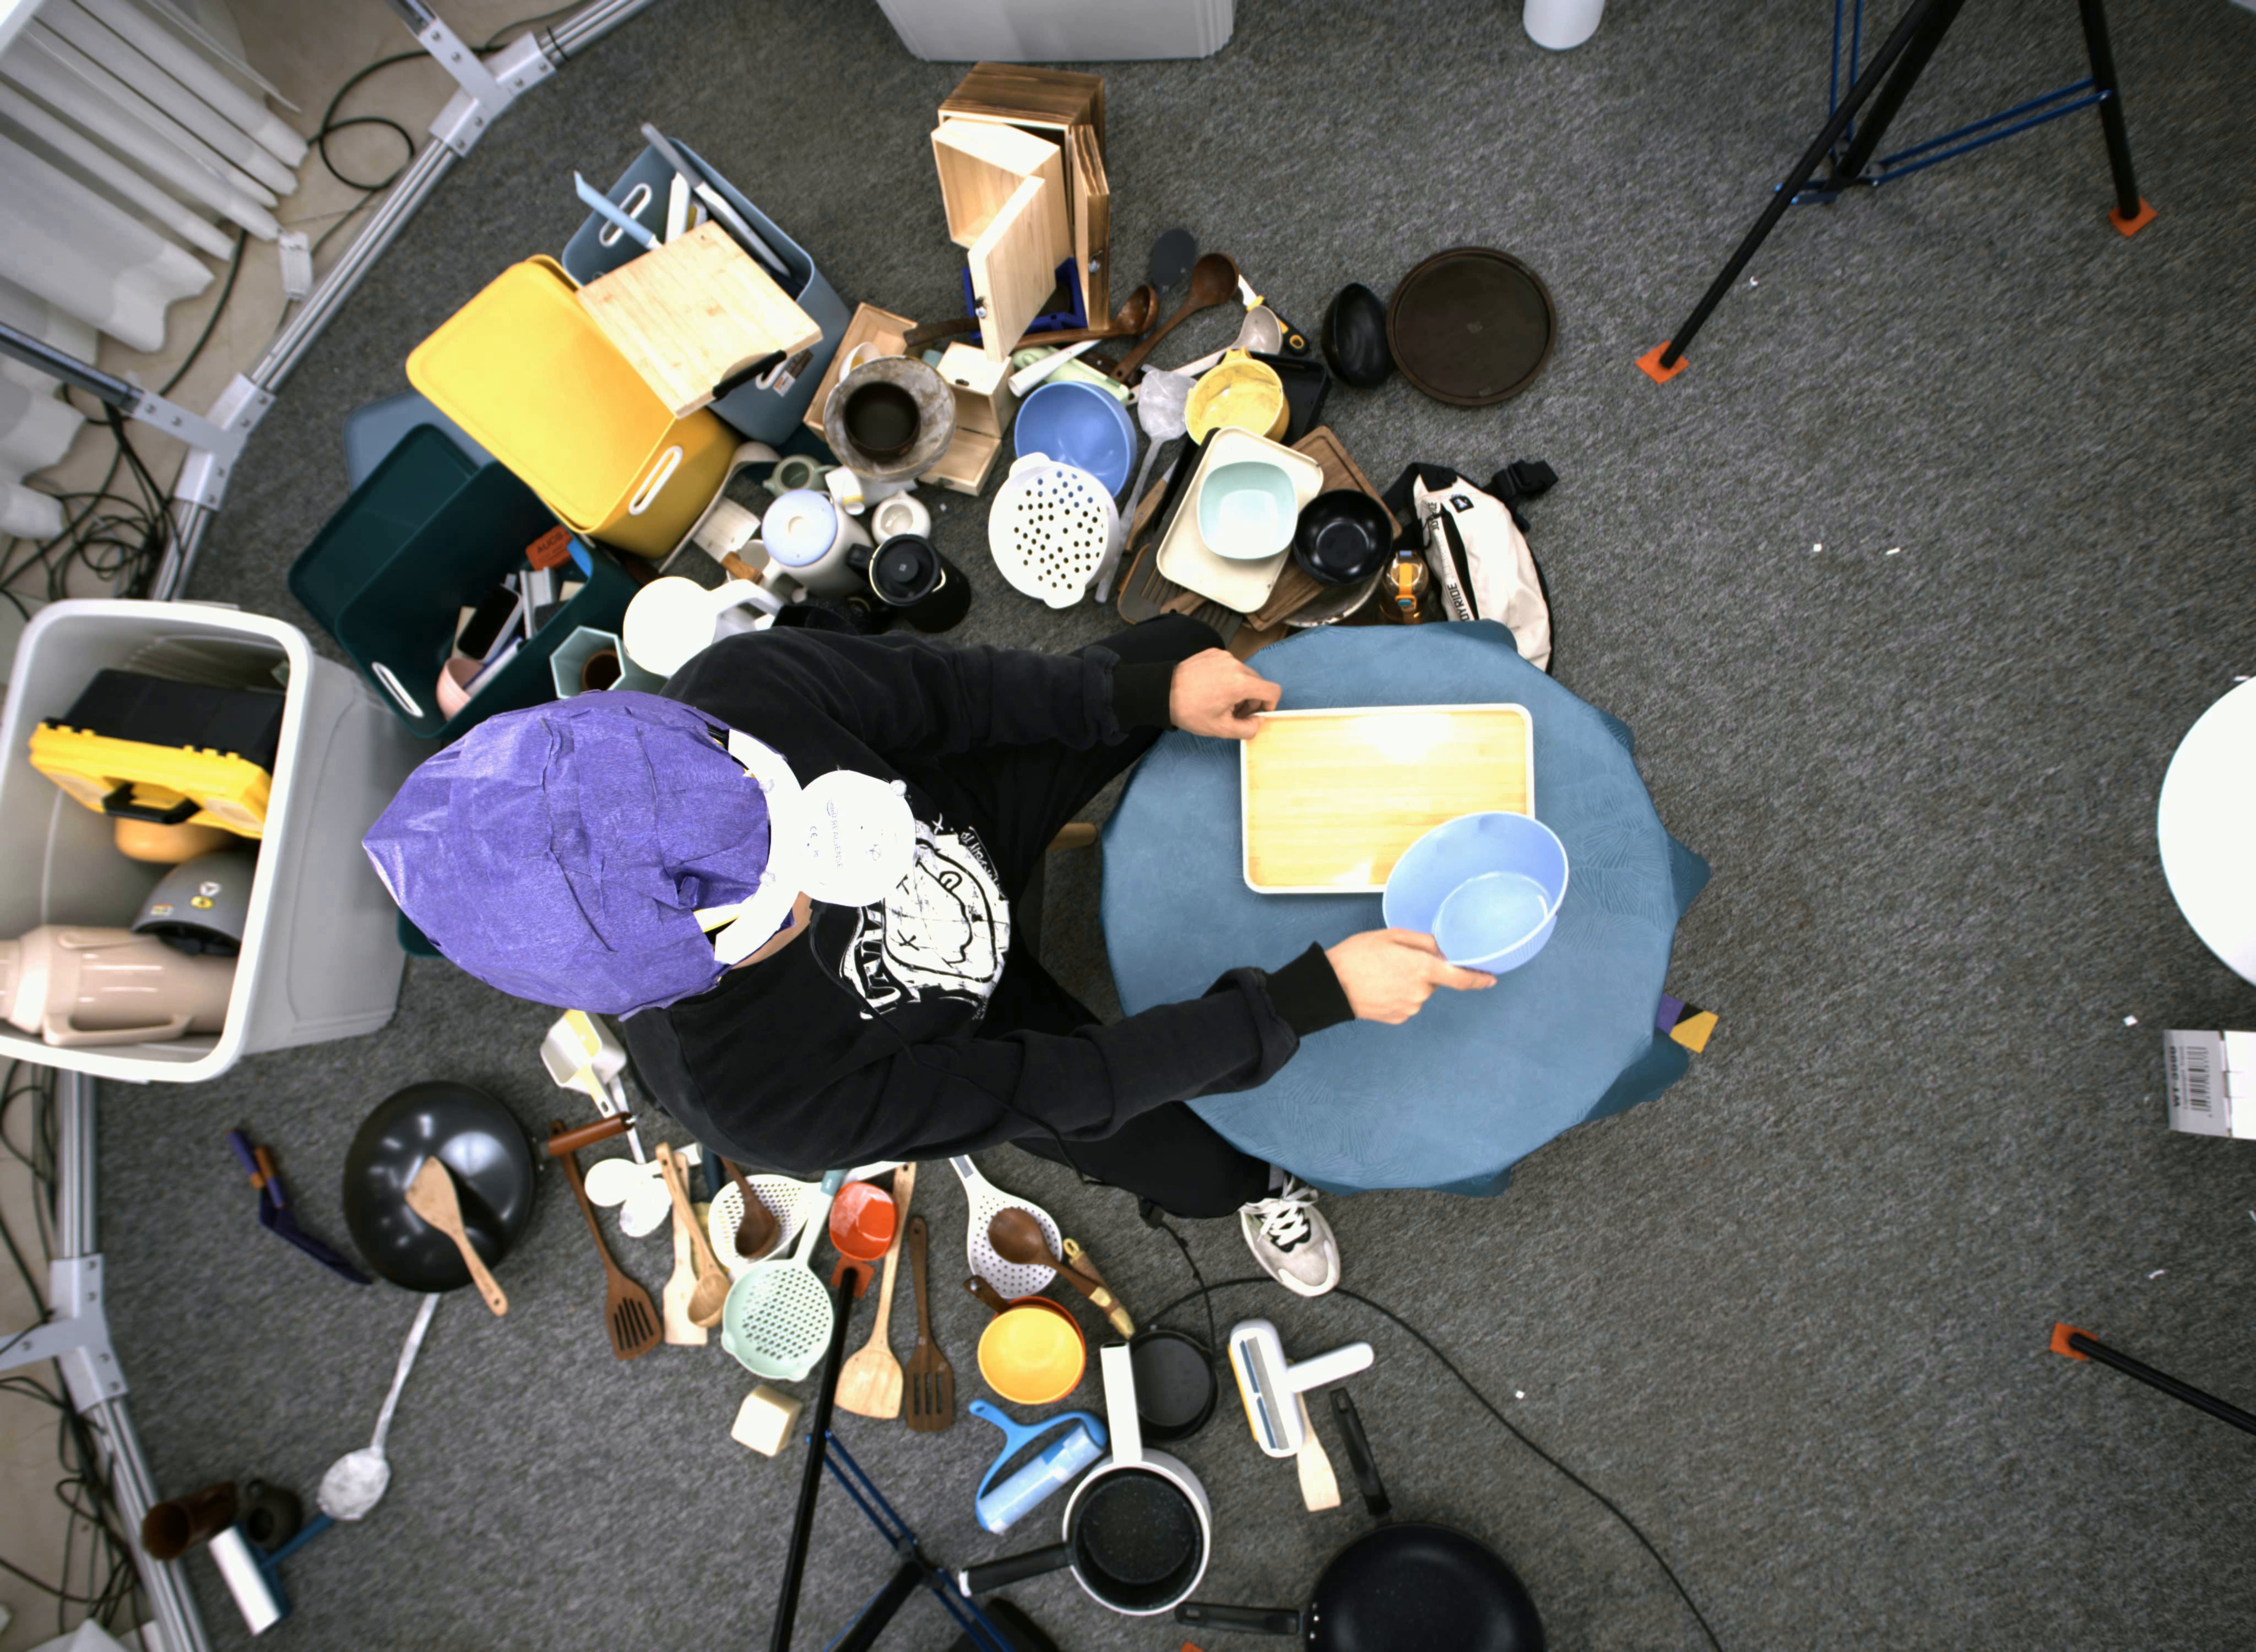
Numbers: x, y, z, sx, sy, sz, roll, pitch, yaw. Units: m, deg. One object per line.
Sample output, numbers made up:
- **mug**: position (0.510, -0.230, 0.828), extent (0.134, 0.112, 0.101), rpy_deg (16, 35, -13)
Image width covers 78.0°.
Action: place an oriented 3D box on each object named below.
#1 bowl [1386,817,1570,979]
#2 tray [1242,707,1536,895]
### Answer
- **bowl**: position (0.337, 0.077, 1.300), extent (0.178, 0.071, 0.171), rpy_deg (-21, 42, 19)
- **tray**: position (0.272, -0.027, 1.442), extent (0.301, 0.027, 0.192), rpy_deg (-1, 92, 7)
